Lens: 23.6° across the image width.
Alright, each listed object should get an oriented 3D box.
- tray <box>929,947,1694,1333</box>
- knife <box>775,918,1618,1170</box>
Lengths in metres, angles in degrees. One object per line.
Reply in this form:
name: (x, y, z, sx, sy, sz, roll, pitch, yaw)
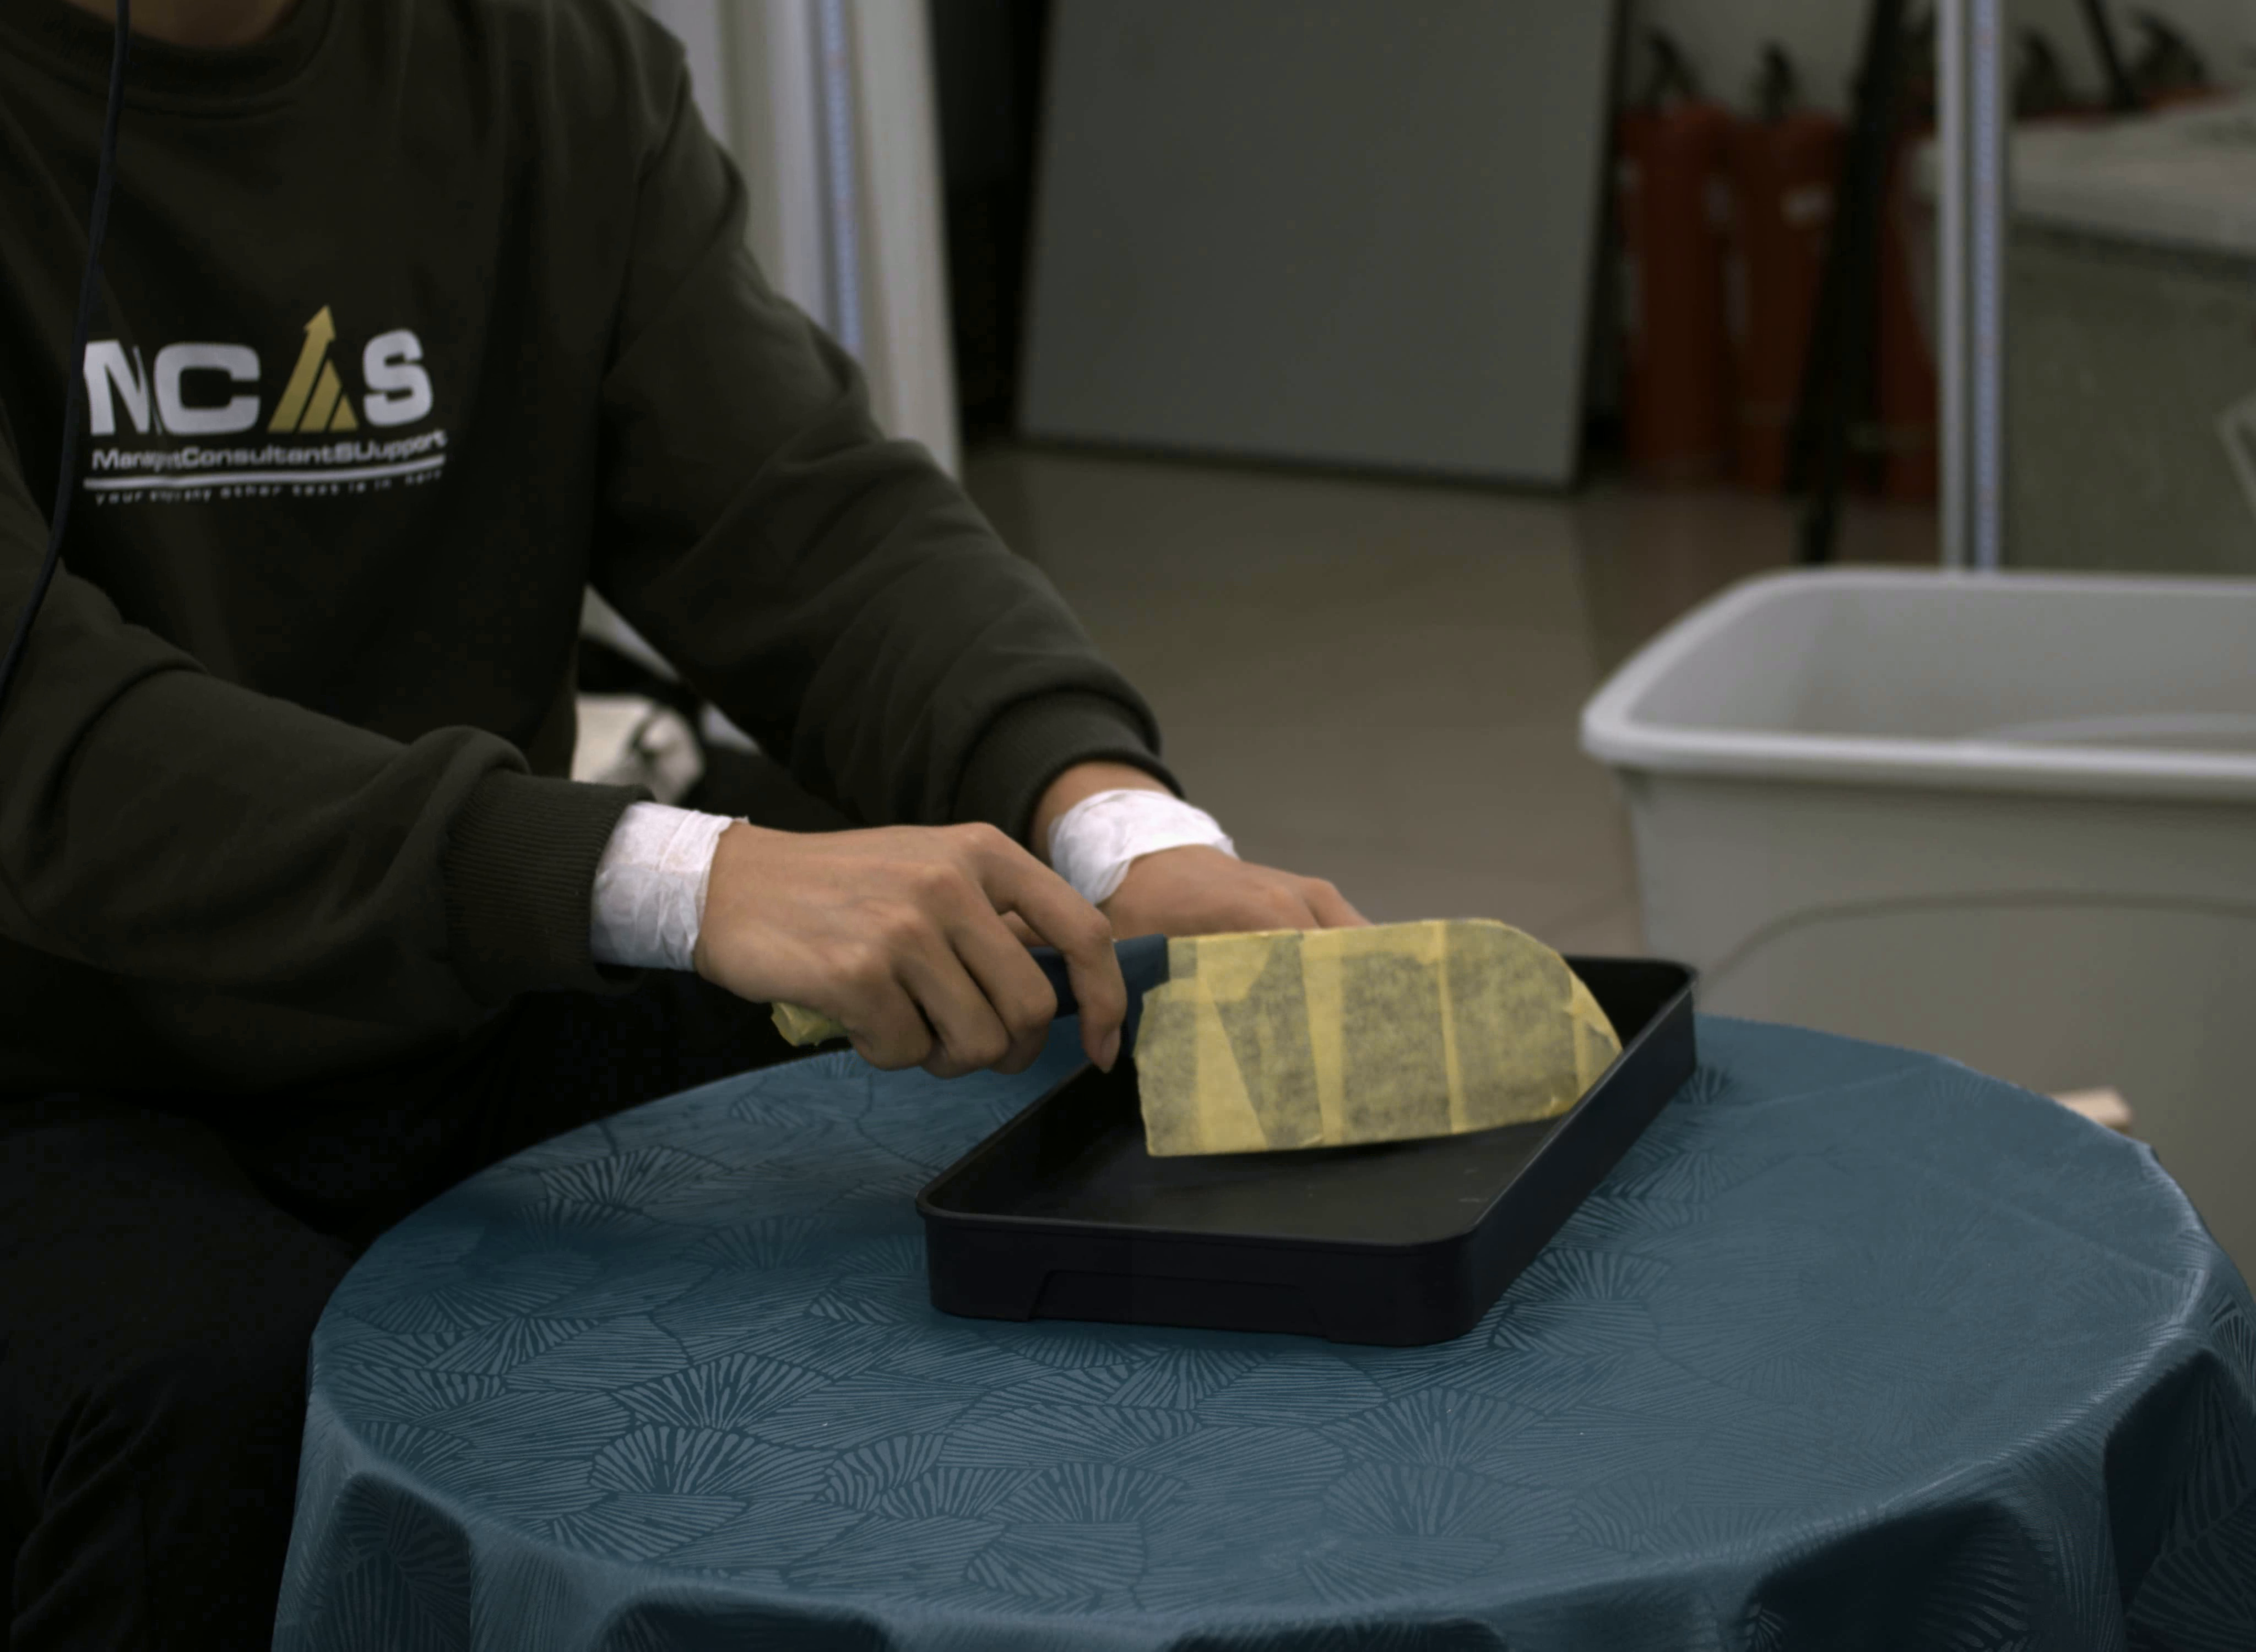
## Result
tray: (0.069, 0.097, 1.773, 0.184, 0.037, 0.315, 1, 14, 20)
knife: (0.026, 0.072, 1.775, 0.284, 0.082, 0.027, -1, -11, -10)
